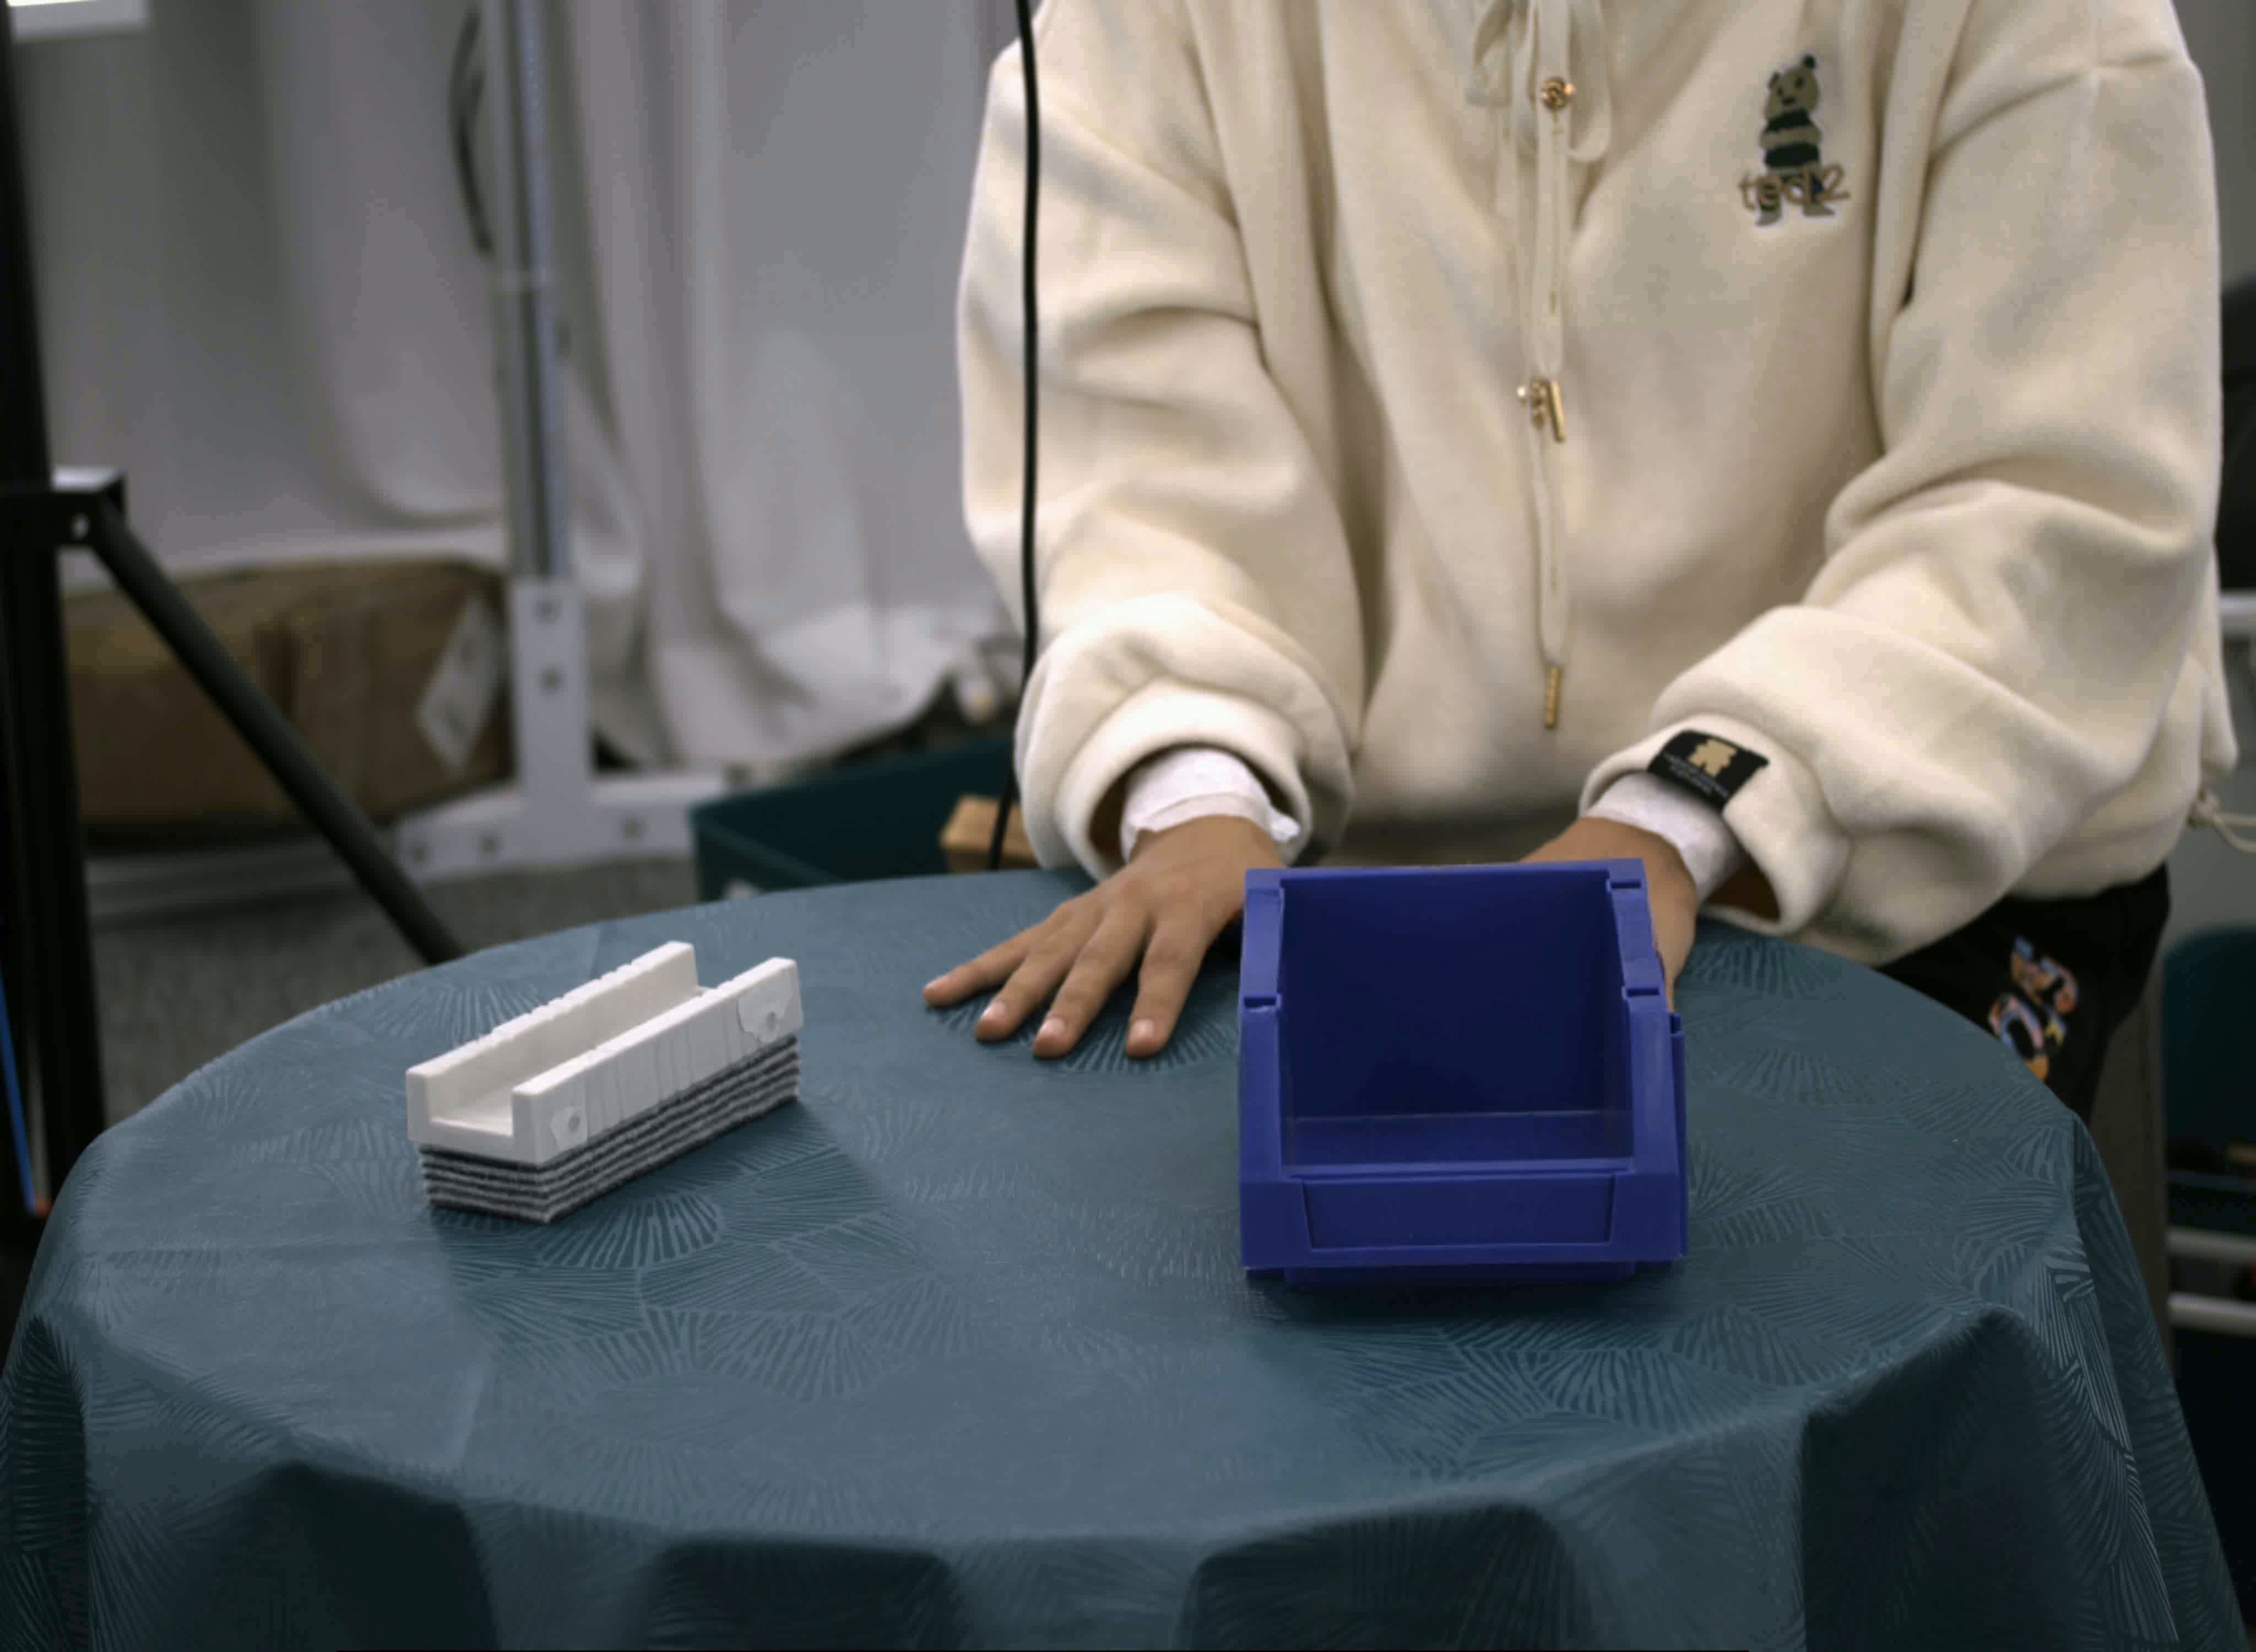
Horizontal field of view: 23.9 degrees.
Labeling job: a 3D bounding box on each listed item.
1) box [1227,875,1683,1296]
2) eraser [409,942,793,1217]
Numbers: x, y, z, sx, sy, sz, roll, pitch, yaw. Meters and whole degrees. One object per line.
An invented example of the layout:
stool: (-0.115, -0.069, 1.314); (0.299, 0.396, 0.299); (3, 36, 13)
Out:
box: (0.094, 0.076, 1.504); (0.124, 0.082, 0.179); (-1, 14, 5)
eraser: (-0.157, 0.075, 1.612); (0.050, 0.046, 0.132); (4, 18, 30)
